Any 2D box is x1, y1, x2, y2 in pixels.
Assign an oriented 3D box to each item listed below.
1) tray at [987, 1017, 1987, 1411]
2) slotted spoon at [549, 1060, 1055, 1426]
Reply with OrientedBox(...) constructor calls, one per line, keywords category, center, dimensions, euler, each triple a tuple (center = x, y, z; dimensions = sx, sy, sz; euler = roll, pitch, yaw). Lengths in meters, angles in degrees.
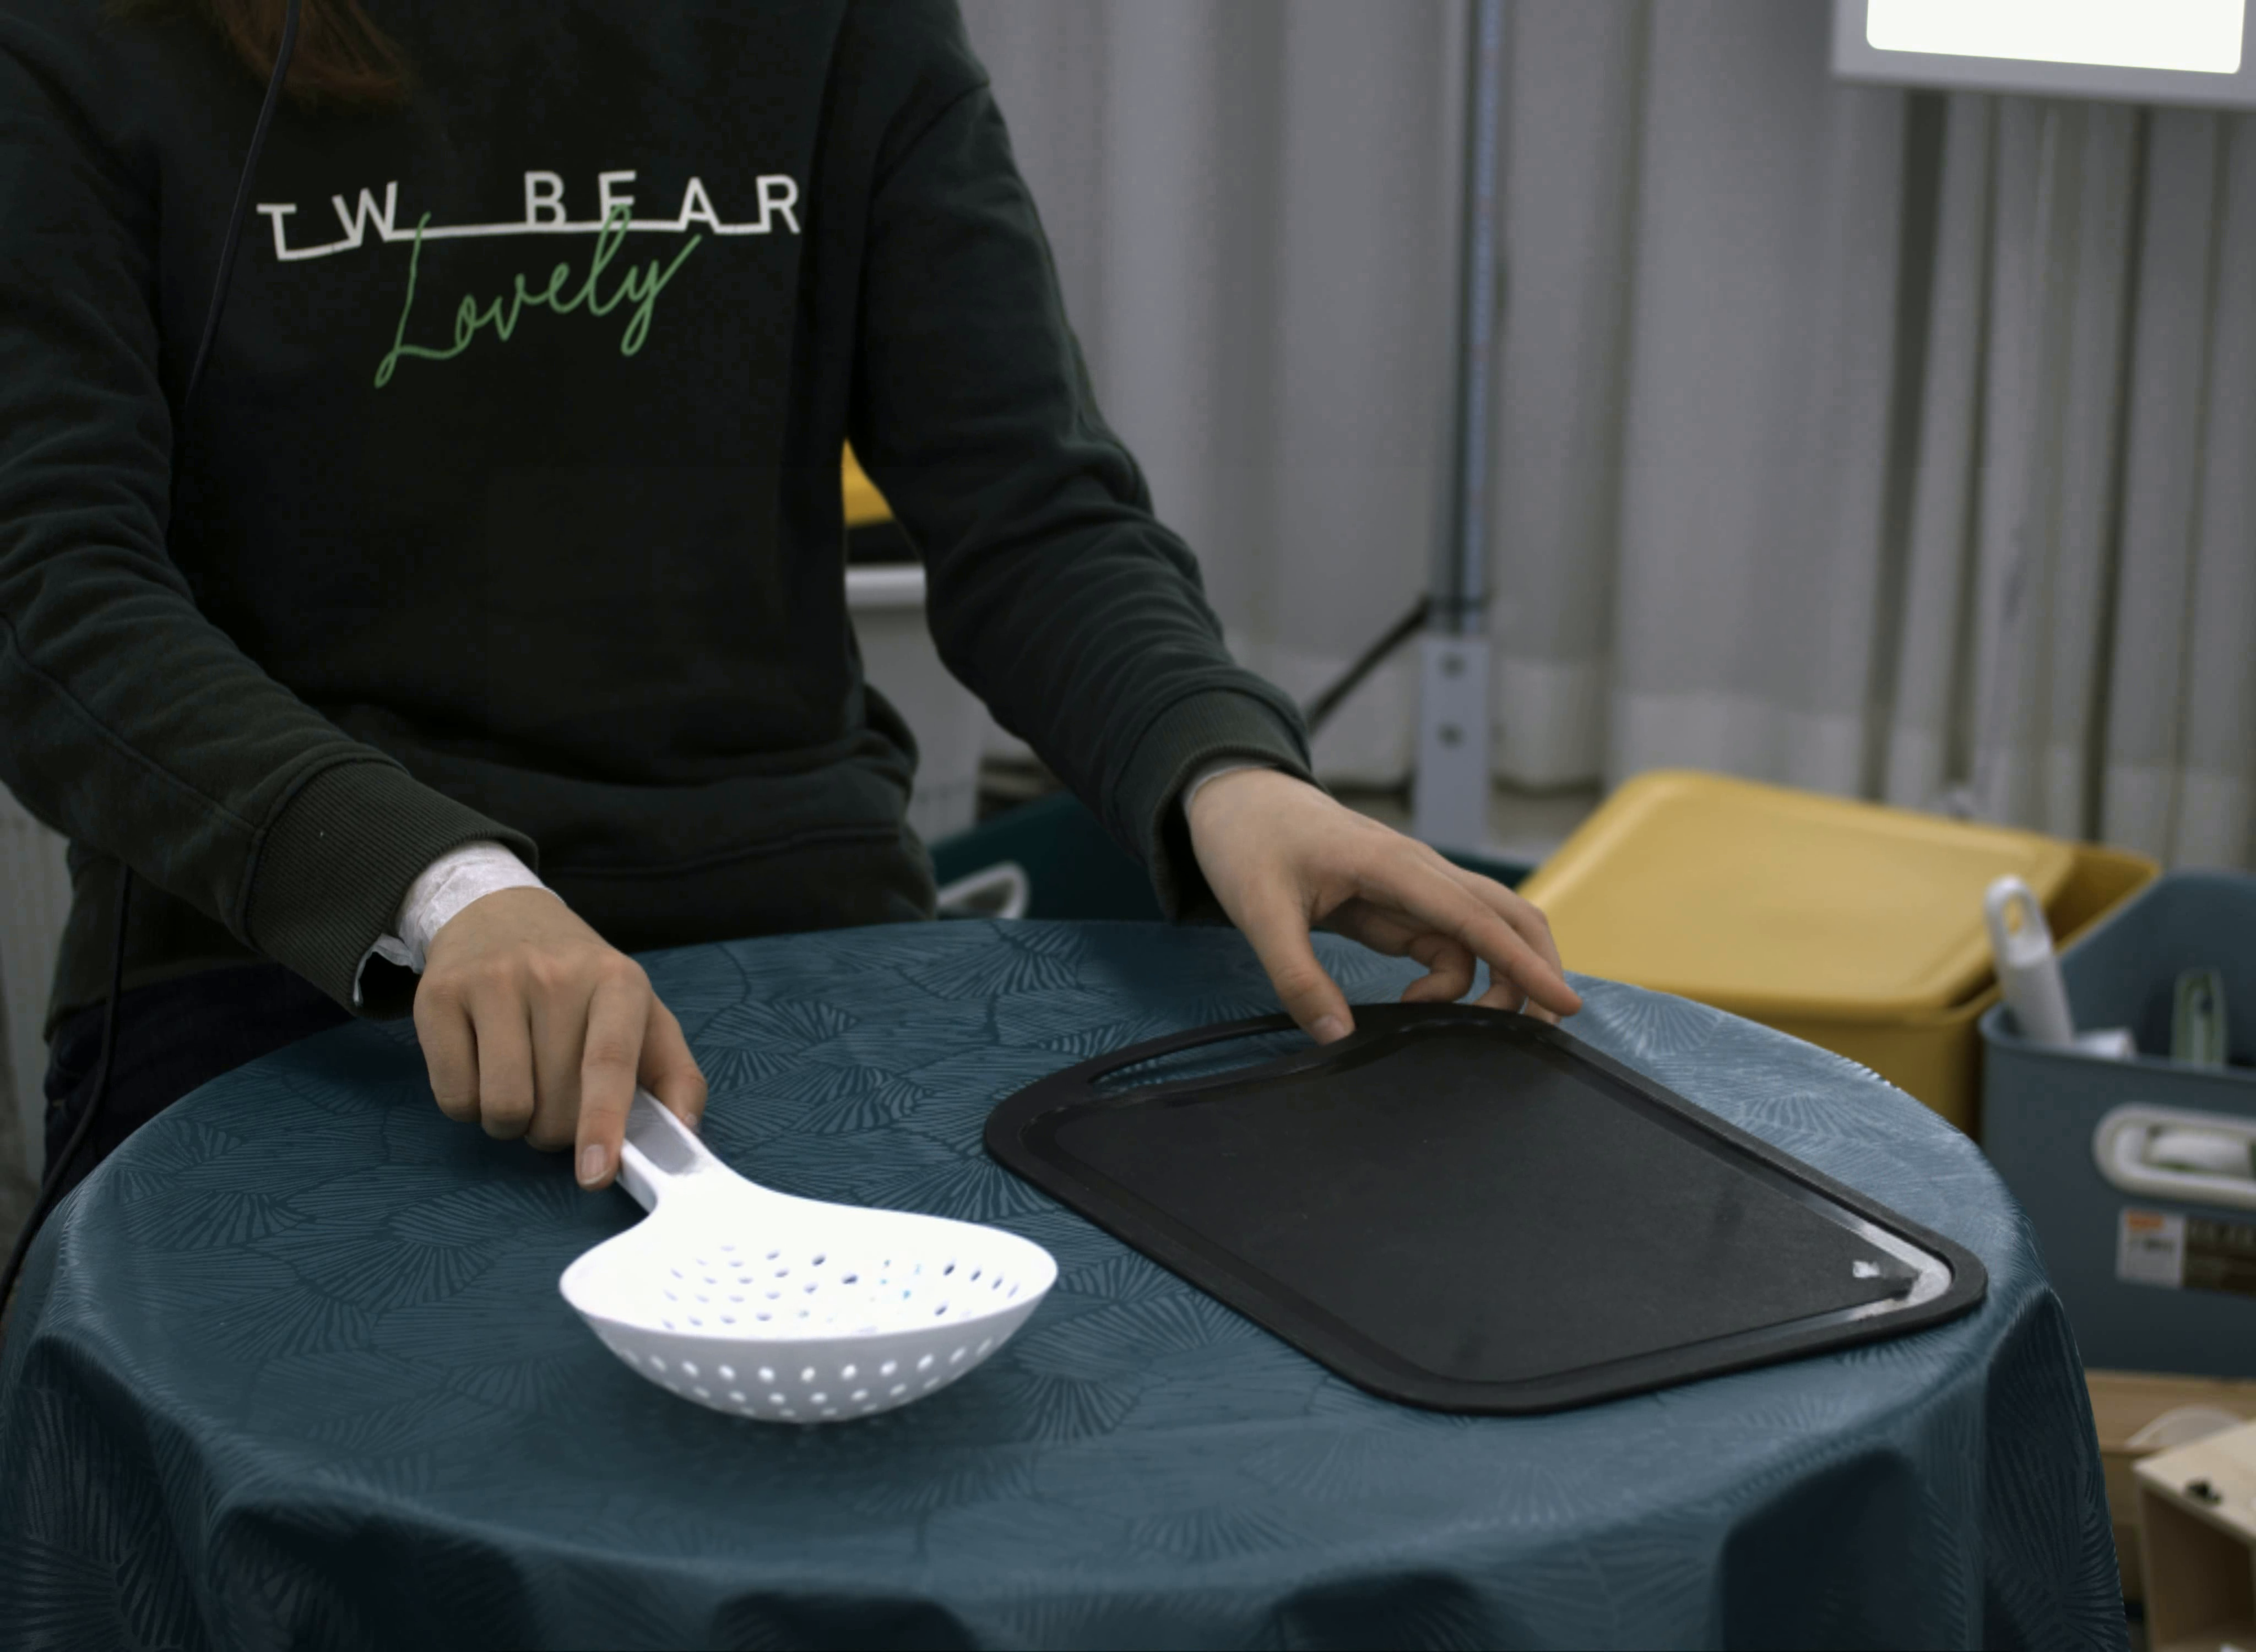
OrientedBox(category="tray", center=(0.098, 0.110, 1.616), dimensions=(0.212, 0.010, 0.321), euler=(-9, 19, -28))
OrientedBox(category="slotted spoon", center=(-0.122, 0.112, 1.540), dimensions=(0.136, 0.046, 0.346), euler=(-3, 15, -18))
